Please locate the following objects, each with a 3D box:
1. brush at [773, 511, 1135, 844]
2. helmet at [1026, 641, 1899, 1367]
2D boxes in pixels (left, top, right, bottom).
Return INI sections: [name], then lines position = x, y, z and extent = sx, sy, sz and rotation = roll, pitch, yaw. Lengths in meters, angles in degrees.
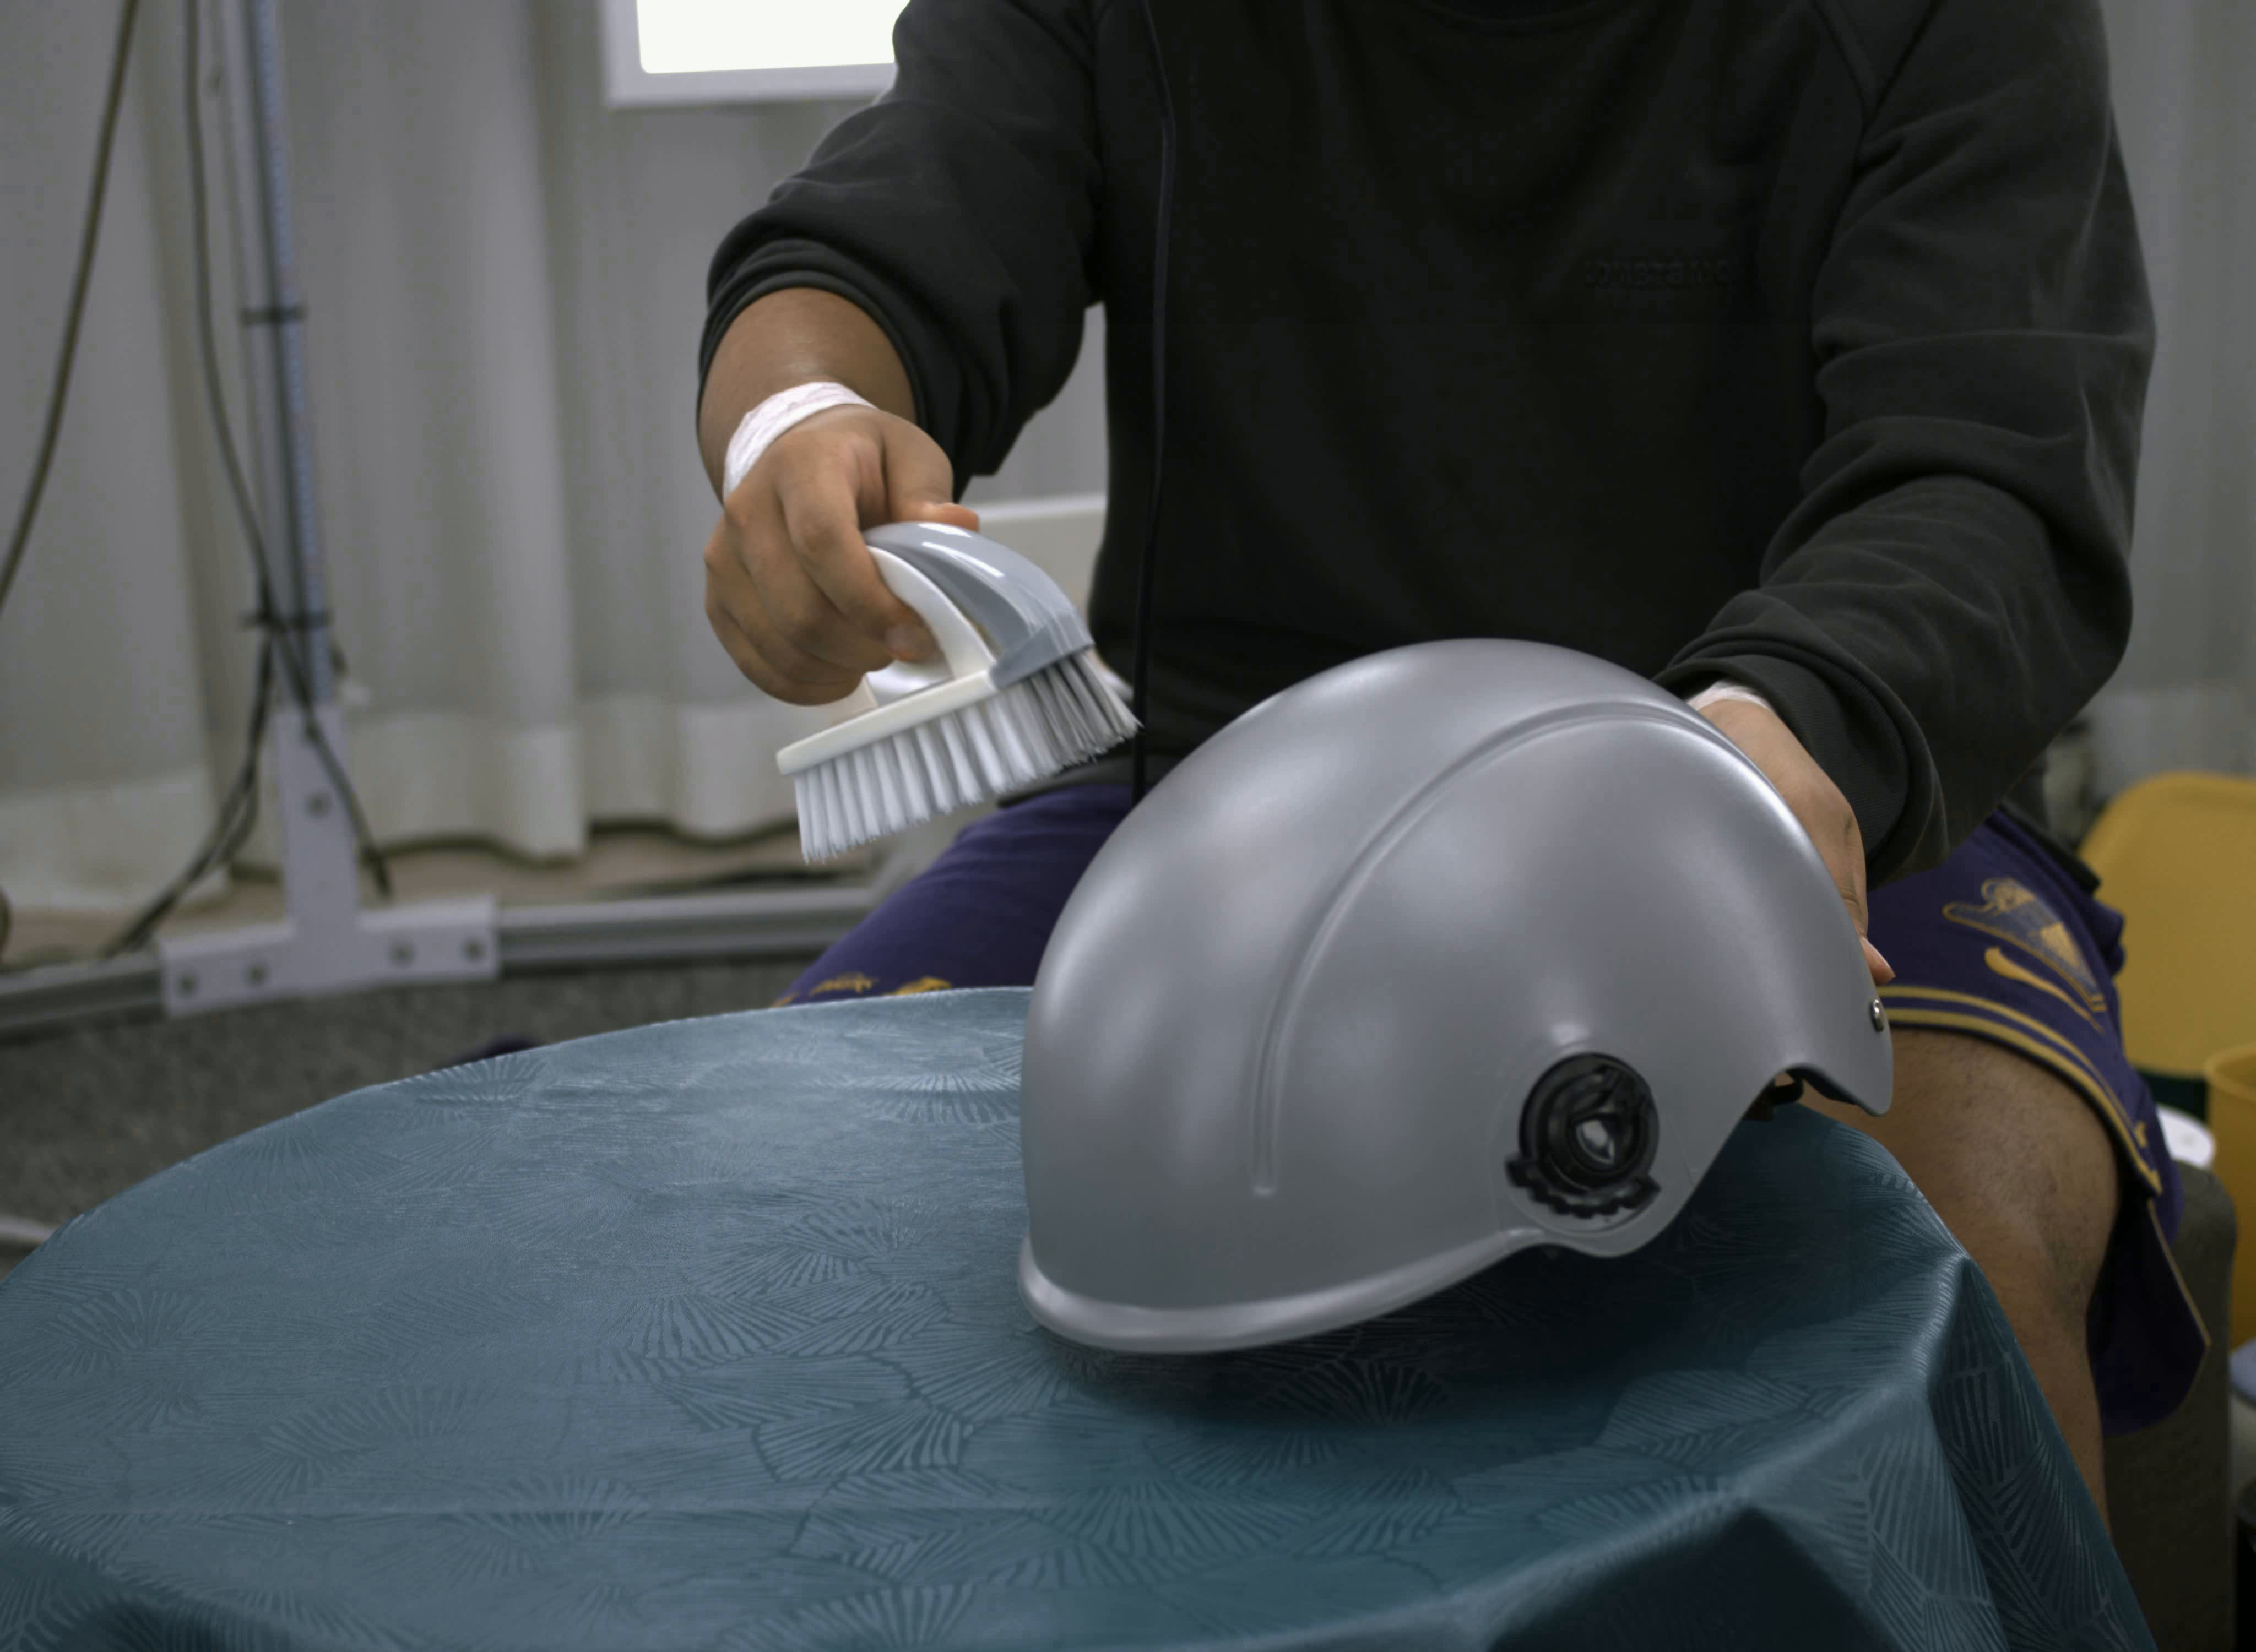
[brush]
position = -0.057, -0.053, 1.666
extent = 0.061, 0.094, 0.175
rotation = -25, 5, -29
[helmet]
position = 0.083, 0.037, 1.599
extent = 0.276, 0.168, 0.233
rotation = -20, 14, -34
